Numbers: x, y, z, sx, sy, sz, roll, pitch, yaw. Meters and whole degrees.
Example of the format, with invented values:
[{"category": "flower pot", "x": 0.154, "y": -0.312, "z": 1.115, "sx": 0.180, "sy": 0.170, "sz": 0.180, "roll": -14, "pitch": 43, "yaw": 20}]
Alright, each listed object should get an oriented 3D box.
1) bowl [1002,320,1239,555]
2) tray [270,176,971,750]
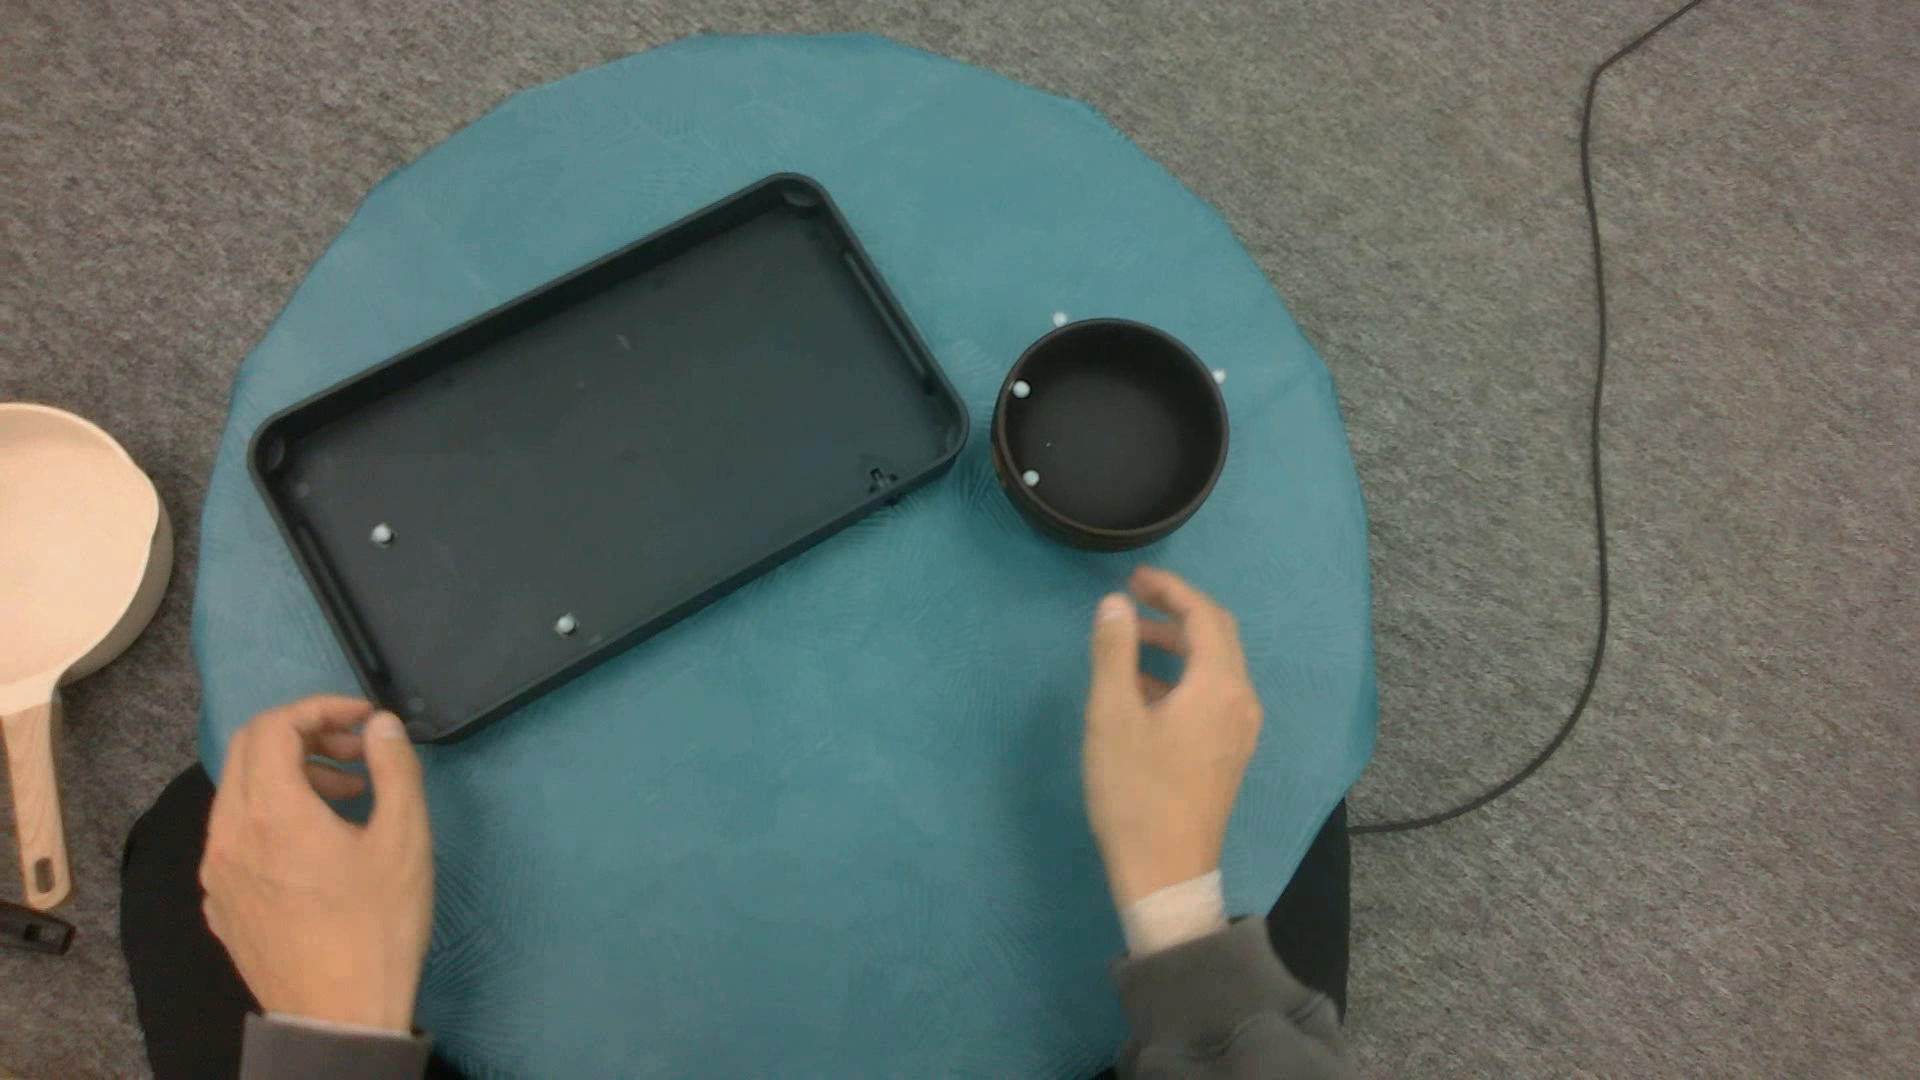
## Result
[{"category": "bowl", "x": 0.079, "y": -0.048, "z": 0.713, "sx": 0.118, "sy": 0.069, "sz": 0.118, "roll": 1, "pitch": 76, "yaw": -4}, {"category": "tray", "x": -0.168, "y": -0.045, "z": 0.712, "sx": 0.318, "sy": 0.037, "sz": 0.184, "roll": -31, "pitch": 80, "yaw": -12}]
